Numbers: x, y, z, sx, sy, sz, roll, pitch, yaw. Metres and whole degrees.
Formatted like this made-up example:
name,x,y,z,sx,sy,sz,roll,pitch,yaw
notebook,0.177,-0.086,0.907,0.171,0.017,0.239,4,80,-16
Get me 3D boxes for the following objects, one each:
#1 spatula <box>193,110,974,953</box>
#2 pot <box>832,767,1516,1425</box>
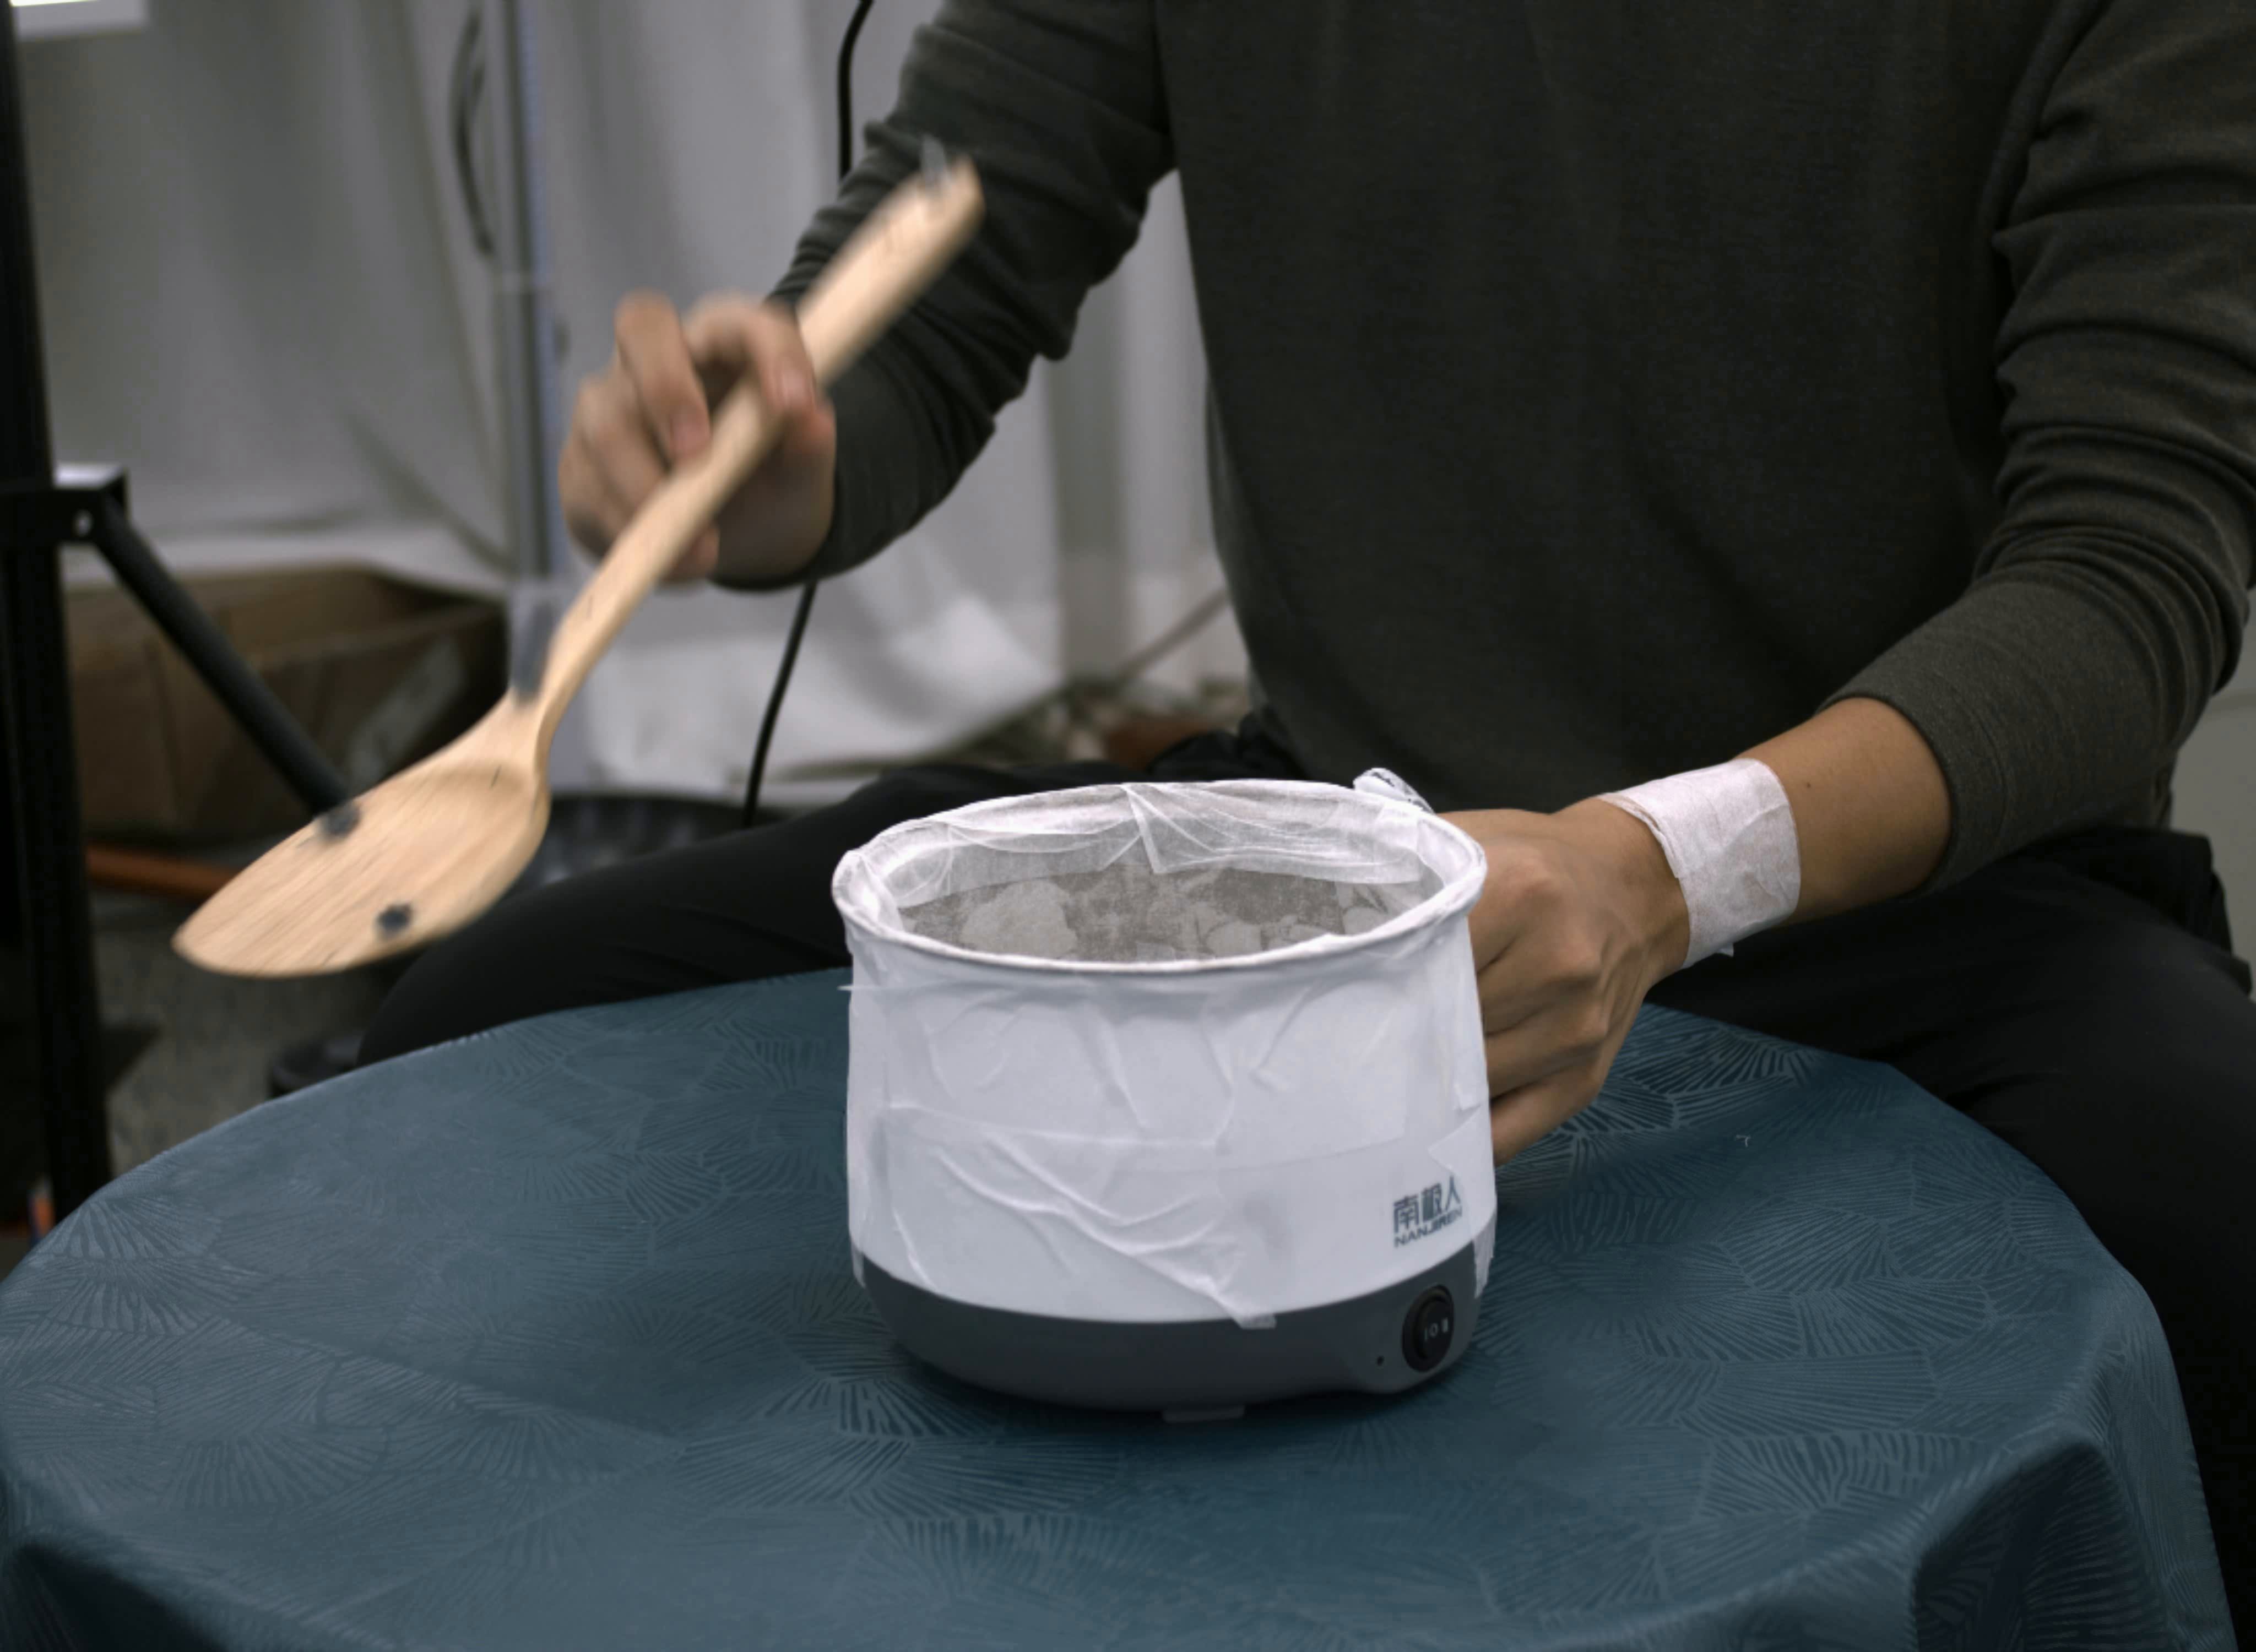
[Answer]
name,x,y,z,sx,sy,sz,roll,pitch,yaw
spatula,-0.140,-0.092,1.535,0.097,0.018,0.389,-5,39,37
pot,0.028,0.066,1.457,0.182,0.136,0.229,11,20,38
